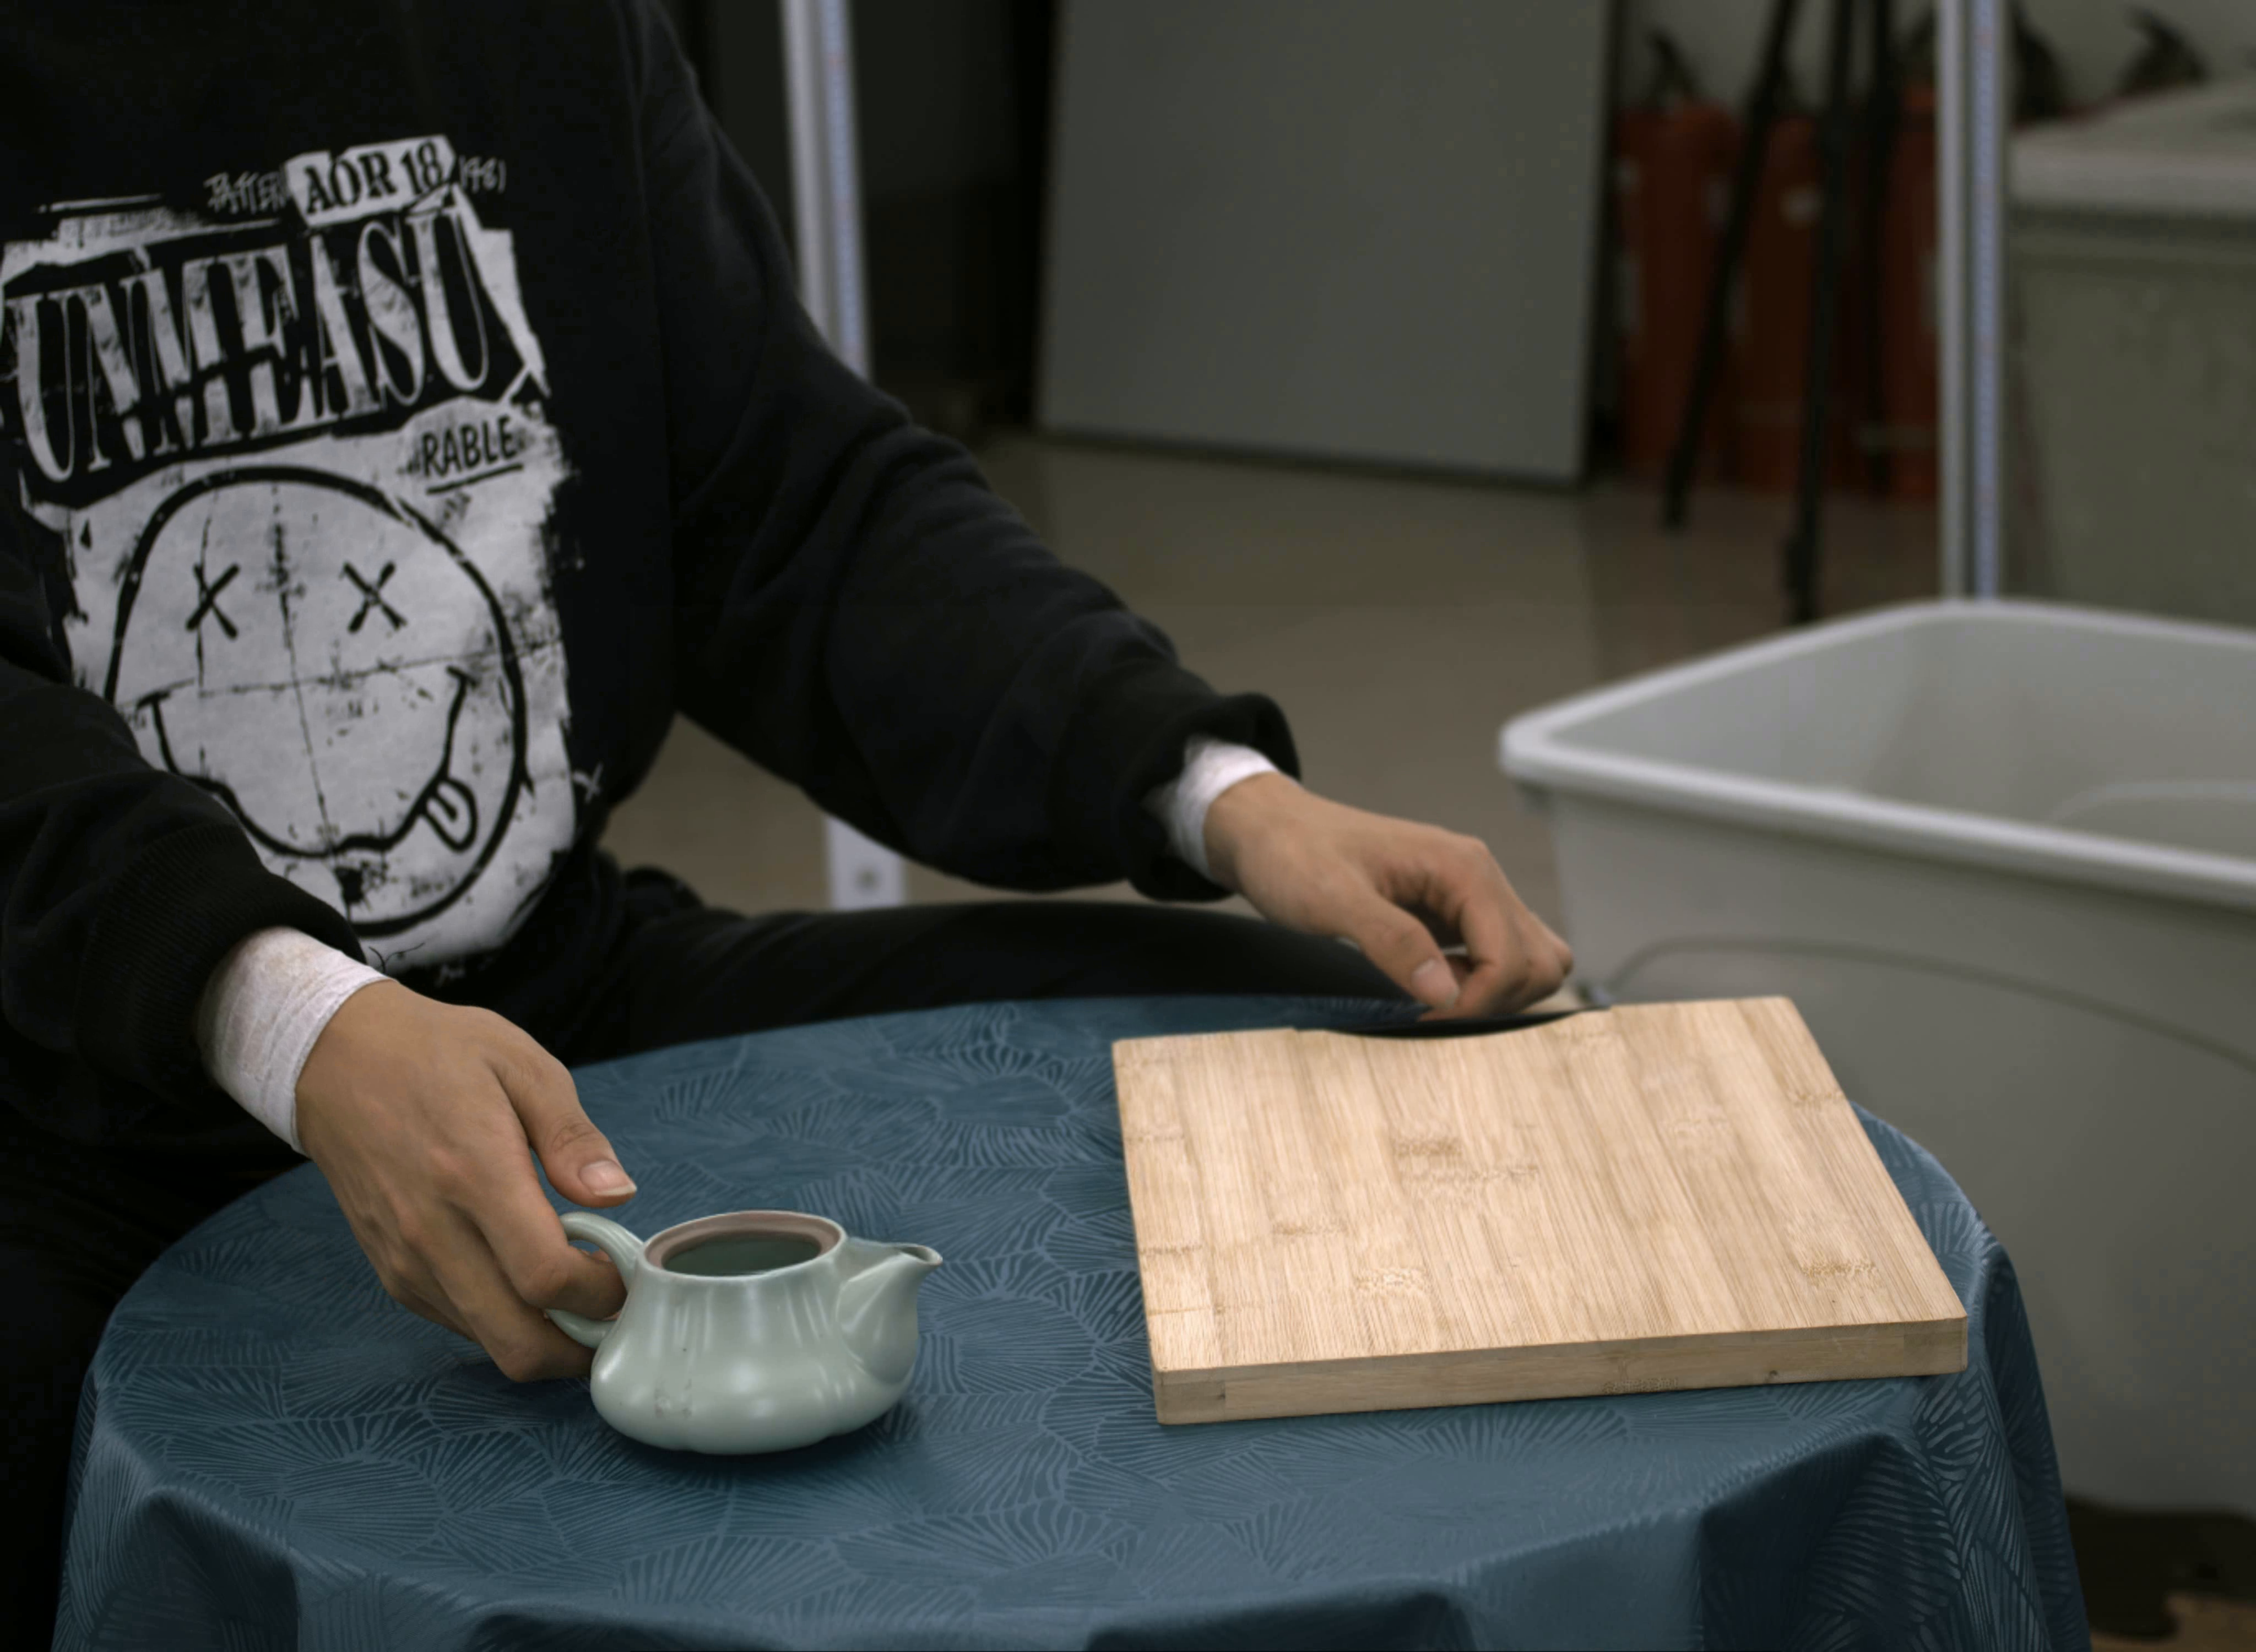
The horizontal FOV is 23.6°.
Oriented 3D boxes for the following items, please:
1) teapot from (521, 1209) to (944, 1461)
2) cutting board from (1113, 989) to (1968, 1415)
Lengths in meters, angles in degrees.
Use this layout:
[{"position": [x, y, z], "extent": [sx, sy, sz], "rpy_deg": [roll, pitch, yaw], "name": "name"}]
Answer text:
[{"position": [-0.115, 0.147, 1.578], "extent": [0.137, 0.062, 0.095], "rpy_deg": [2, 16, 23], "name": "teapot"}, {"position": [0.120, 0.116, 1.725], "extent": [0.247, 0.024, 0.349], "rpy_deg": [-5, 14, -1], "name": "cutting board"}]
